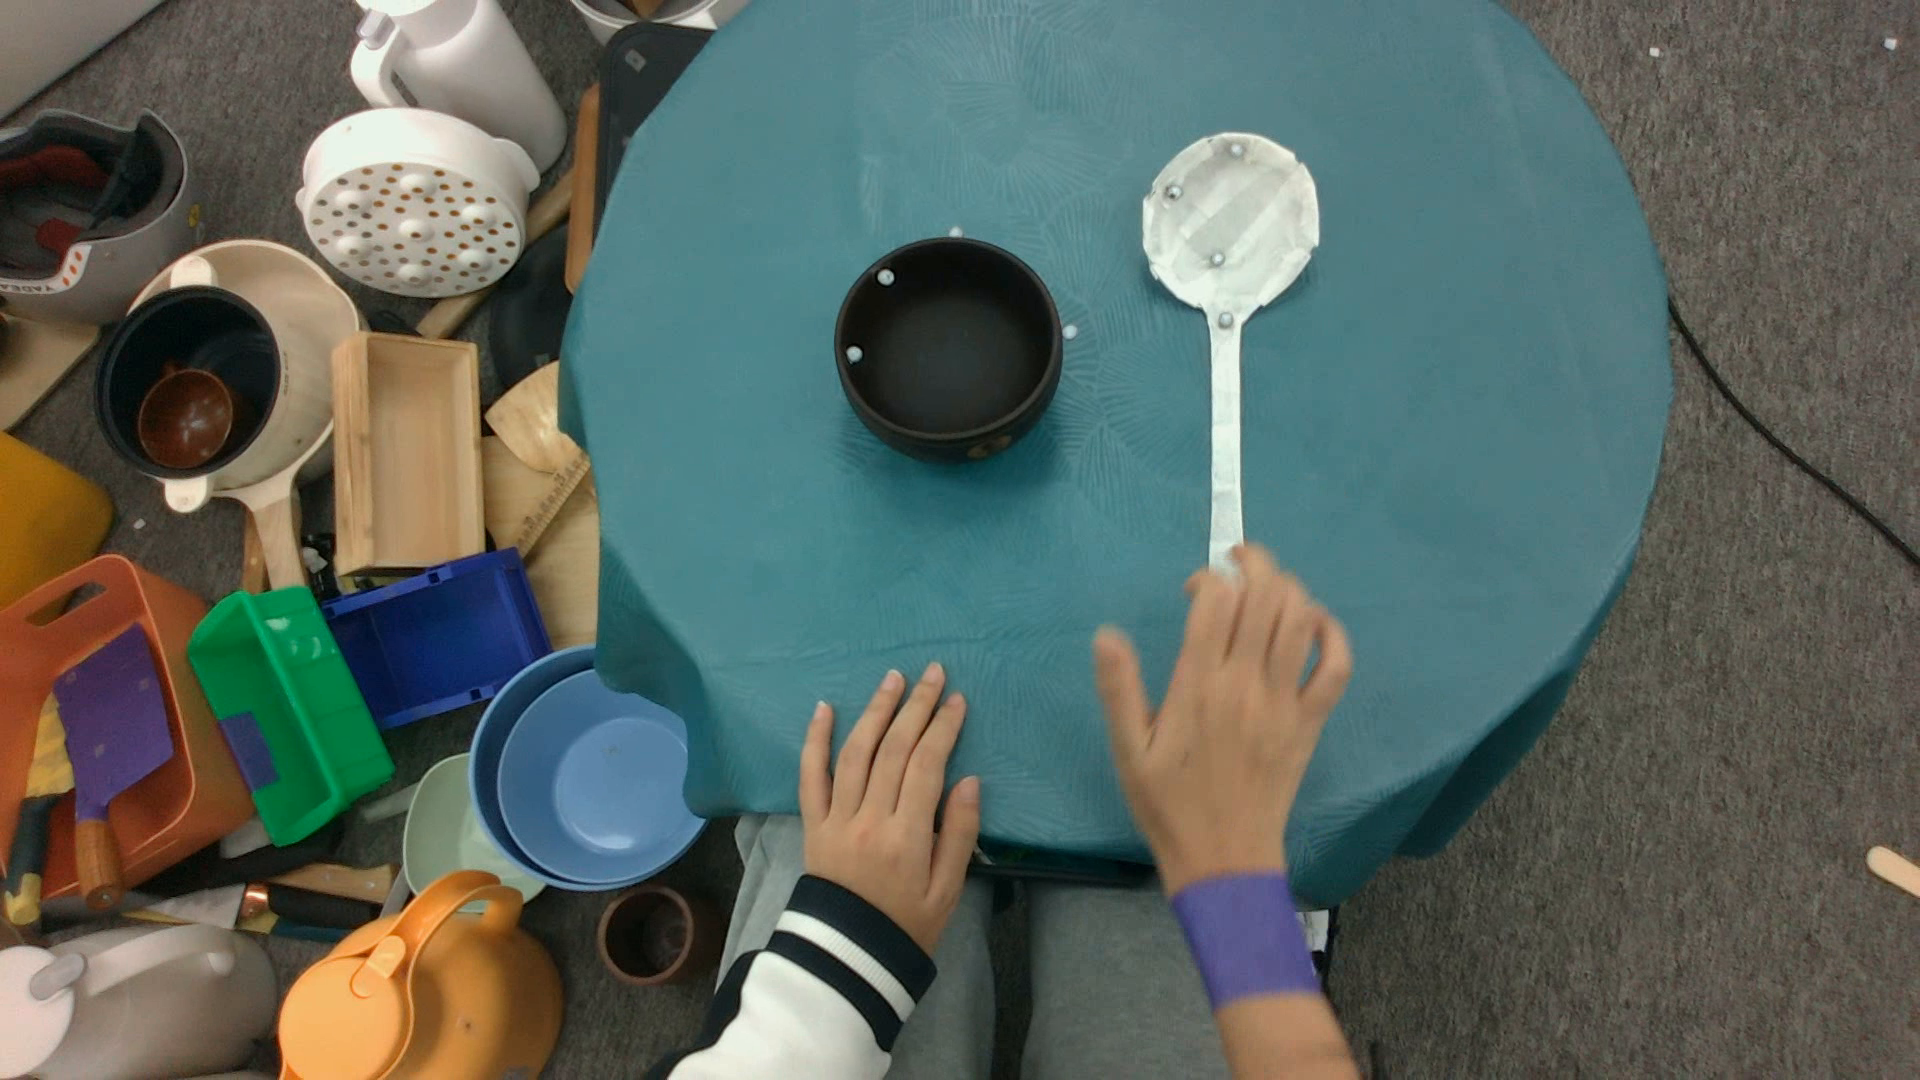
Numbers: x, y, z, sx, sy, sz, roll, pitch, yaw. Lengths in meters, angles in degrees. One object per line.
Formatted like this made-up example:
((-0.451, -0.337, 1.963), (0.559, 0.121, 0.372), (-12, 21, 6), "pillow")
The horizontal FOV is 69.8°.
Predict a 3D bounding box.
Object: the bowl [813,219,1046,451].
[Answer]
((-0.014, -0.100, 0.719), (0.118, 0.069, 0.118), (-1, 73, 3), "bowl")

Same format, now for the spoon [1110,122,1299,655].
((0.123, -0.082, 0.716), (0.100, 0.059, 0.278), (3, 73, 8), "spoon")
